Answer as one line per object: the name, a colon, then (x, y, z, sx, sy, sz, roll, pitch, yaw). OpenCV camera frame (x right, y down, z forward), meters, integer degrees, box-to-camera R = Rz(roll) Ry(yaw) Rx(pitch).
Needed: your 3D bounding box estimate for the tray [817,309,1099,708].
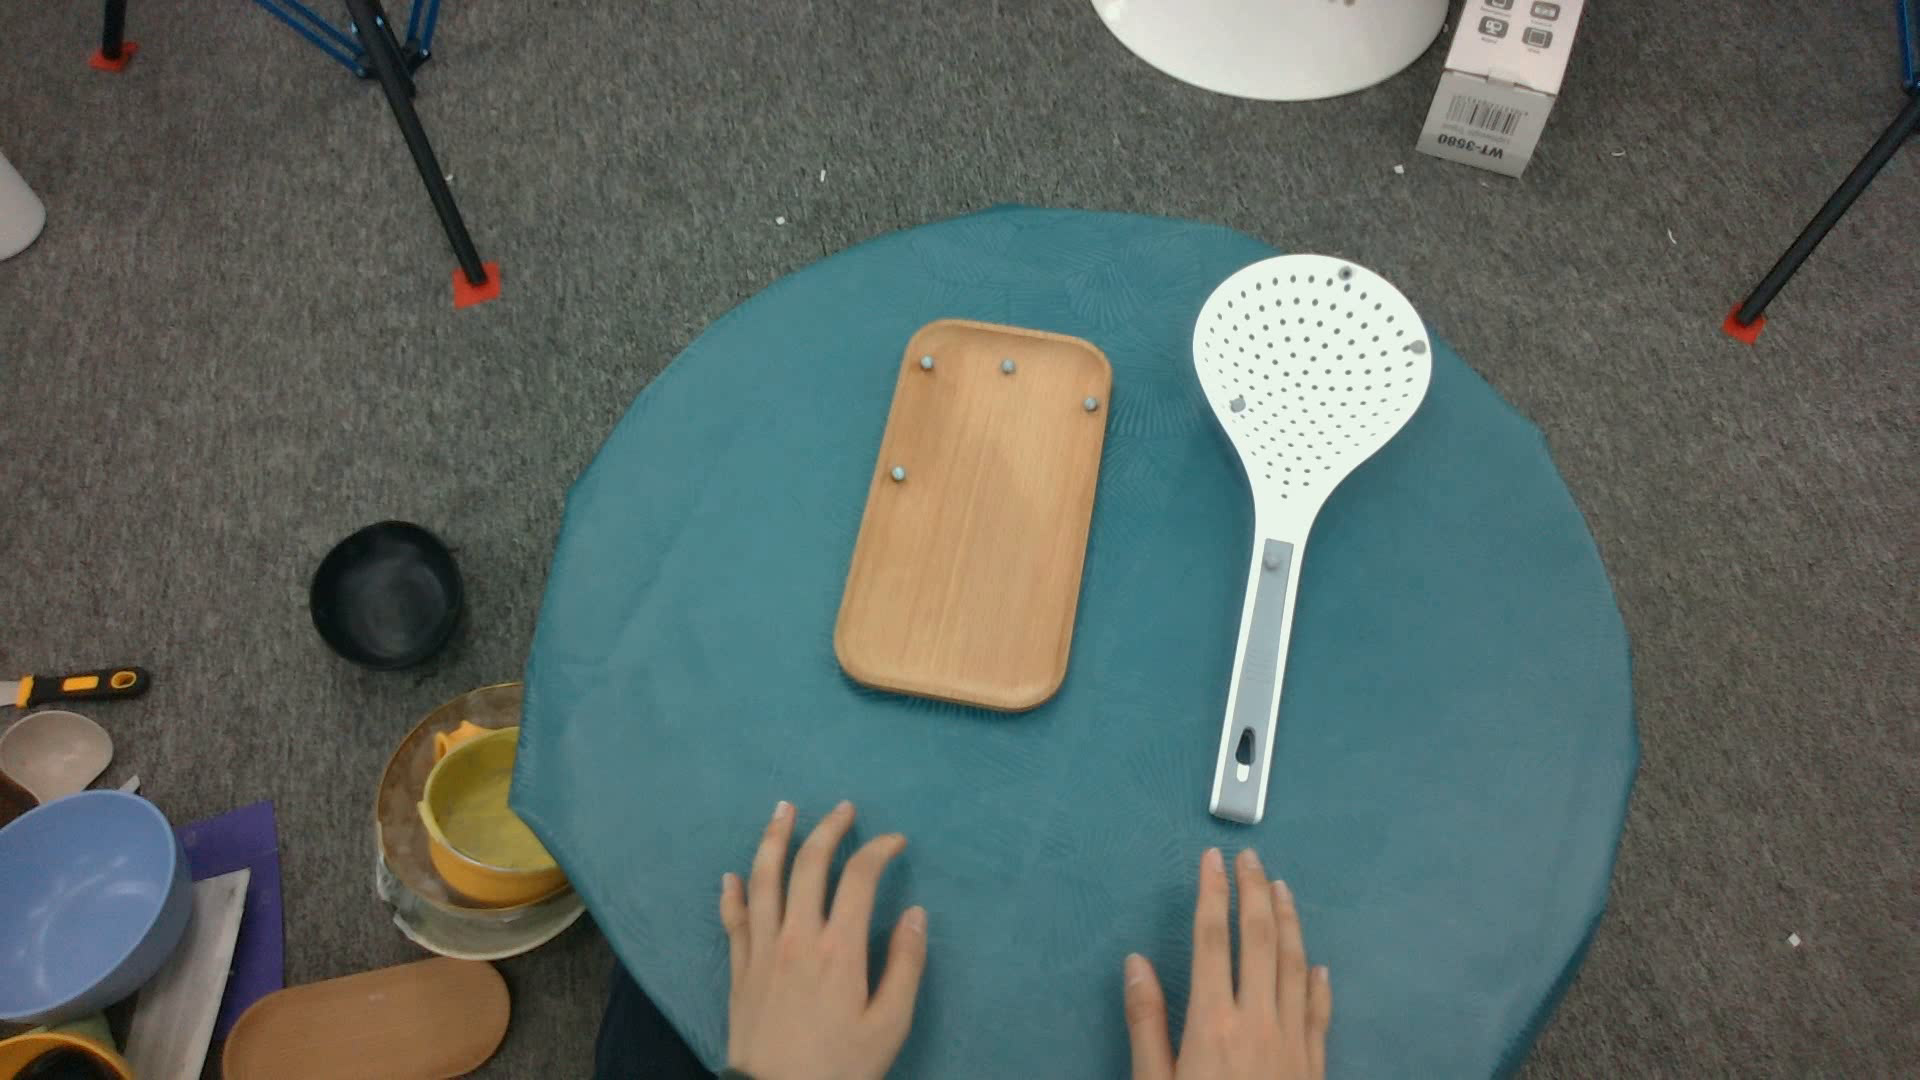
tray: (0.004, -0.025, 0.786, 0.130, 0.023, 0.252, 9, 61, 5)

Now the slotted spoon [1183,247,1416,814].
slotted spoon: (0.174, -0.017, 0.770, 0.136, 0.045, 0.351, 12, 61, 7)
